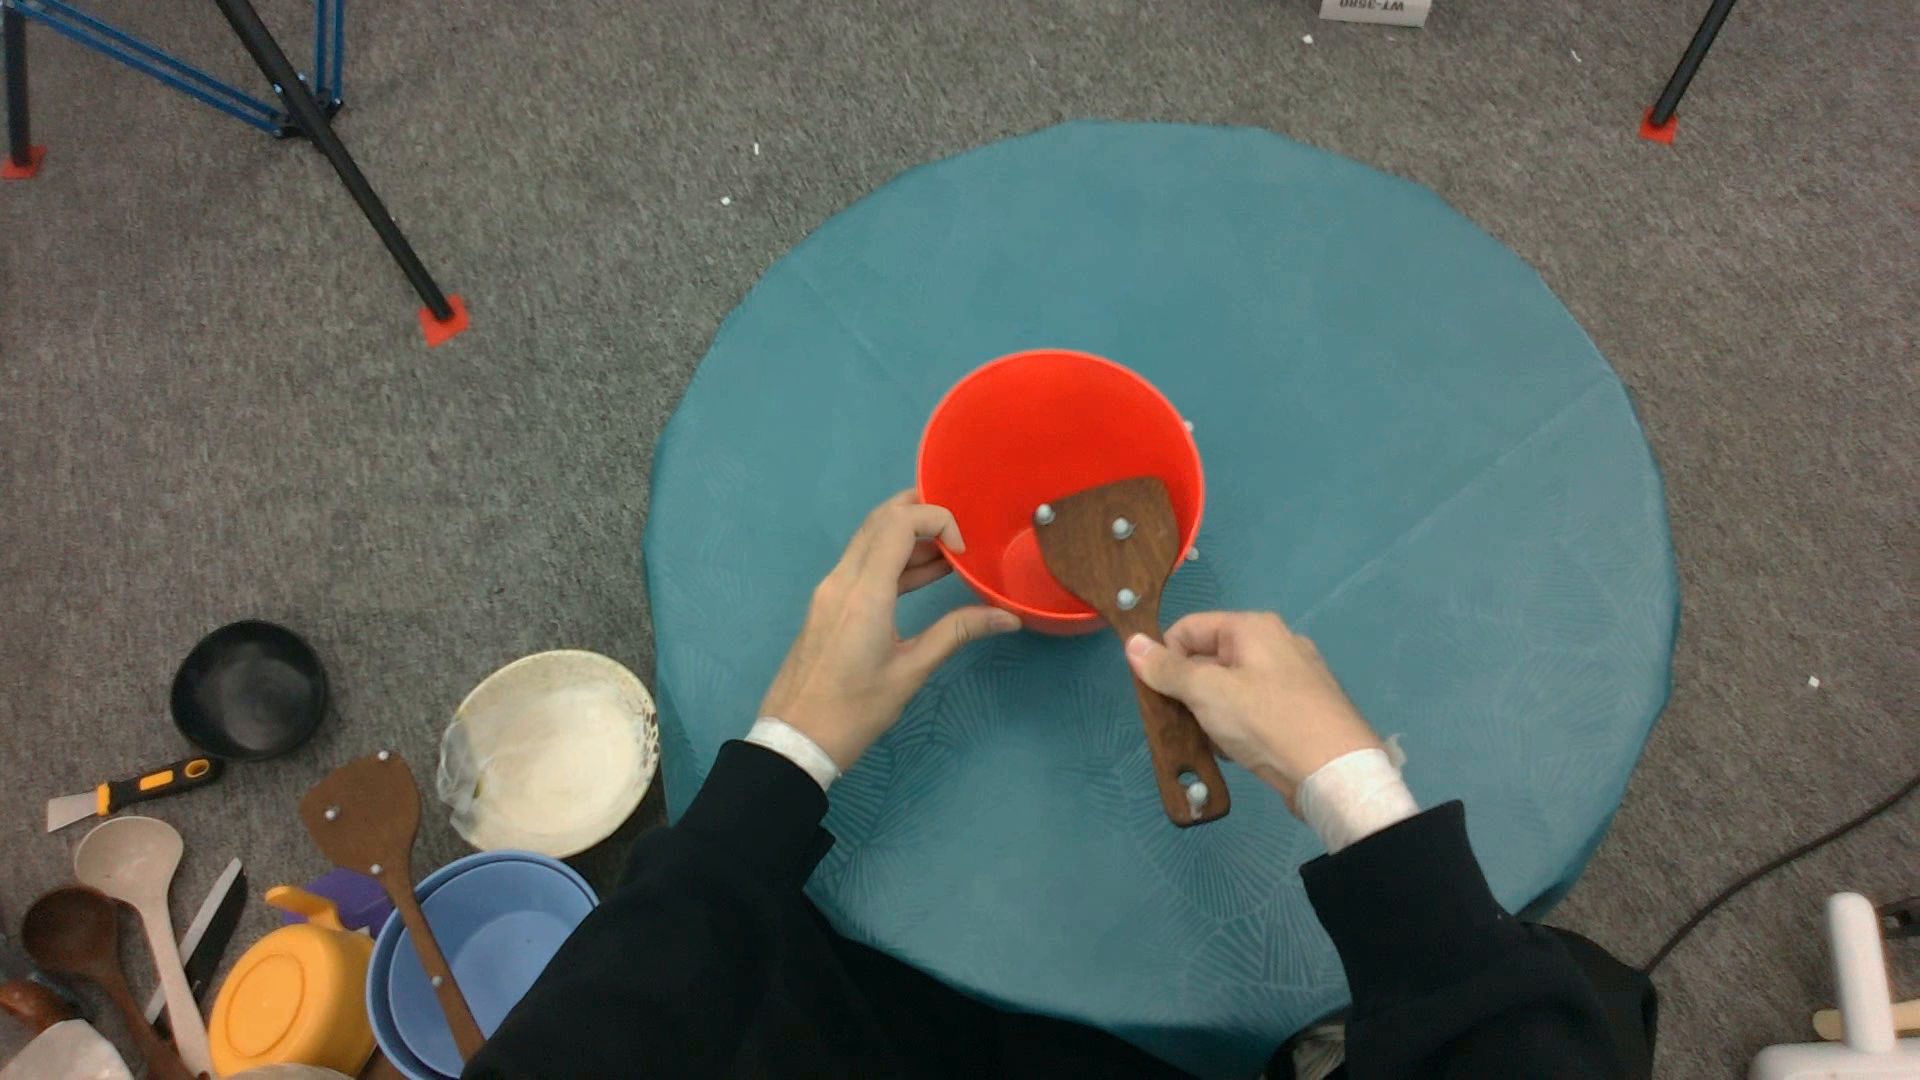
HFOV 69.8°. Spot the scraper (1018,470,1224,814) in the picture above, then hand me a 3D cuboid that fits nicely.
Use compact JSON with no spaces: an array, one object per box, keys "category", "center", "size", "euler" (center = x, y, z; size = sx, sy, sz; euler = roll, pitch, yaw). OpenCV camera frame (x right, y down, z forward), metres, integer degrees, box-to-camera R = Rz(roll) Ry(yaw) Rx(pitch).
[{"category":"scraper","center":[0.082,0.042,0.653],"size":[0.076,0.011,0.212],"euler":[-14,43,1]}]

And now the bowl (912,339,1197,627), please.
[{"category":"bowl","center":[0.048,-0.018,0.738],"size":[0.148,0.104,0.148],"euler":[1,62,-2]}]
